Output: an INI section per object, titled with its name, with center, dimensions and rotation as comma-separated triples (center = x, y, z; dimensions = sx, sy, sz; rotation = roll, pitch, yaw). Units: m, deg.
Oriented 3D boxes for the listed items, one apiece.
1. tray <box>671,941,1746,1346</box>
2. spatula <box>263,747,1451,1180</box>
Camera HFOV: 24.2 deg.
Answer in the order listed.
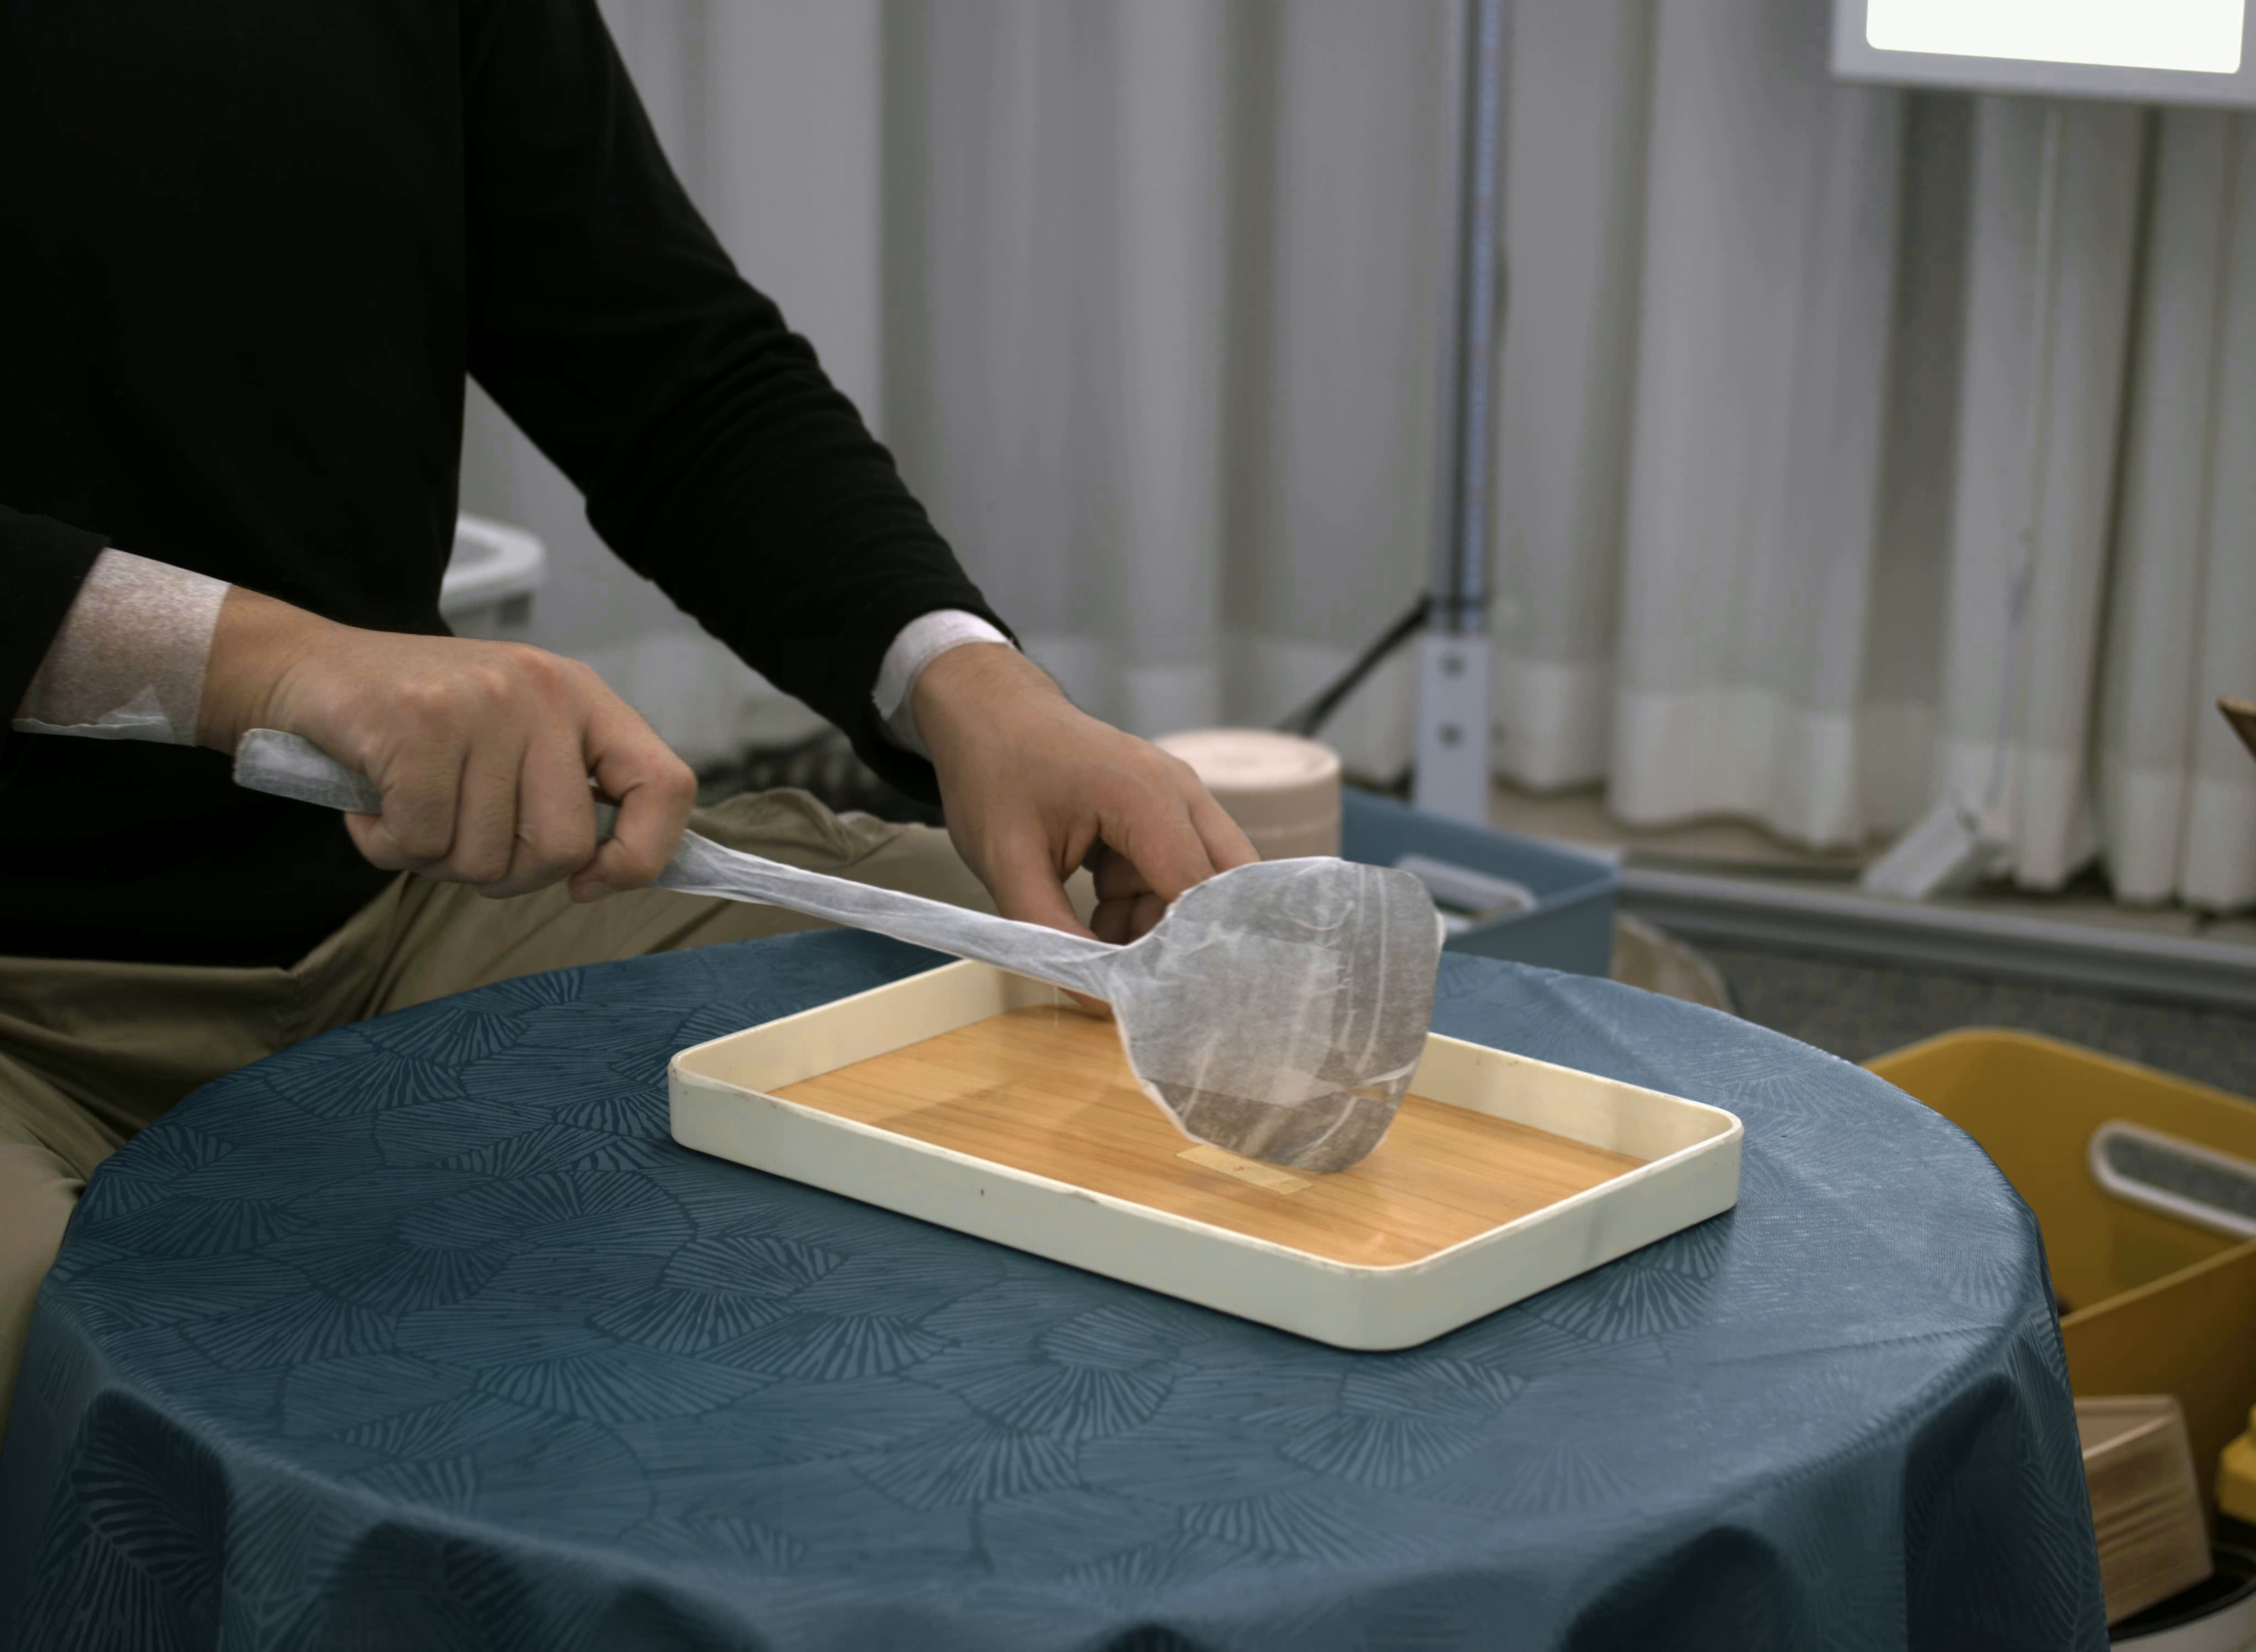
[tray]
center = 0.022, 0.094, 1.637
dimensions = 0.296, 0.027, 0.192
rotation = 13, 20, 39
[spatula]
center = -0.078, 0.024, 1.582
dimensions = 0.365, 0.099, 0.044
rotation = 15, 7, -7
